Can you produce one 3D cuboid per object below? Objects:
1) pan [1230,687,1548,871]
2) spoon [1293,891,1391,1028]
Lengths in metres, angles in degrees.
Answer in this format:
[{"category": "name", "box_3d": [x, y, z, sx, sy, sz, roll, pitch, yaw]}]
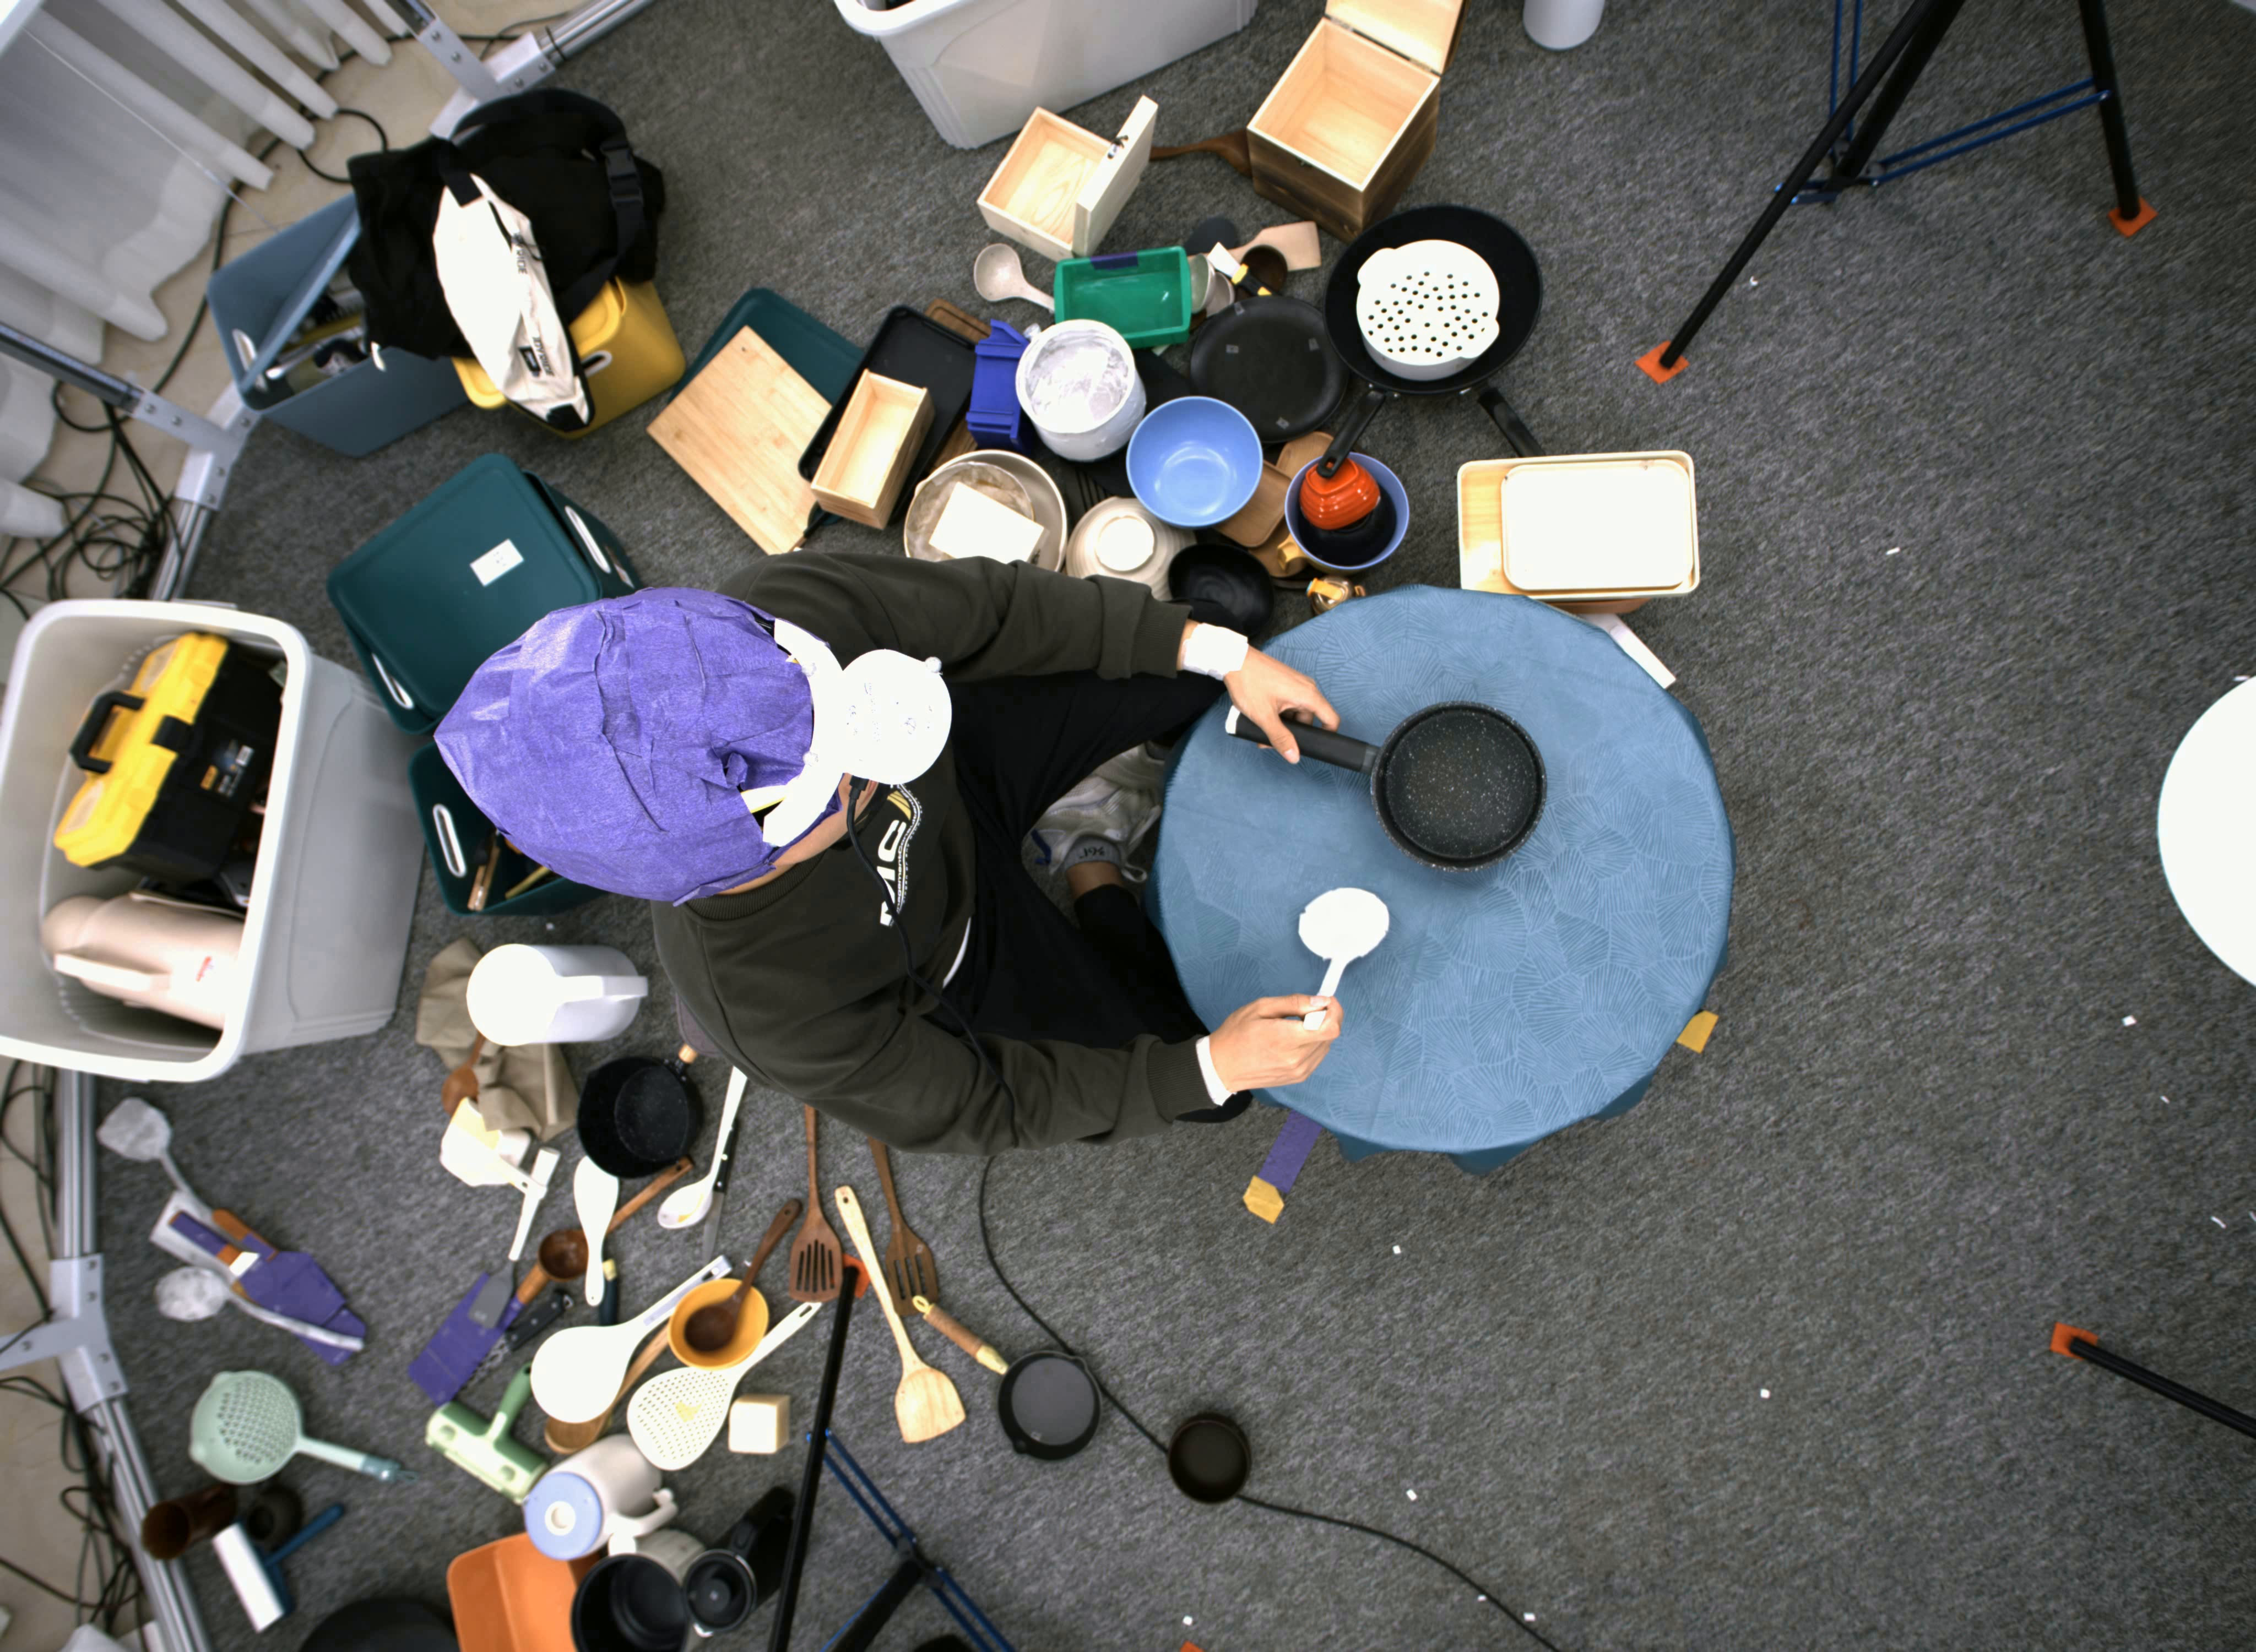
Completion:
[{"category": "pan", "box_3d": [0.265, -0.071, 1.412, 0.329, 0.086, 0.173, 21, 100, 12]}, {"category": "spoon", "box_3d": [0.191, 0.123, 1.346, 0.101, 0.273, 0.060, -4, 100, 21]}]
